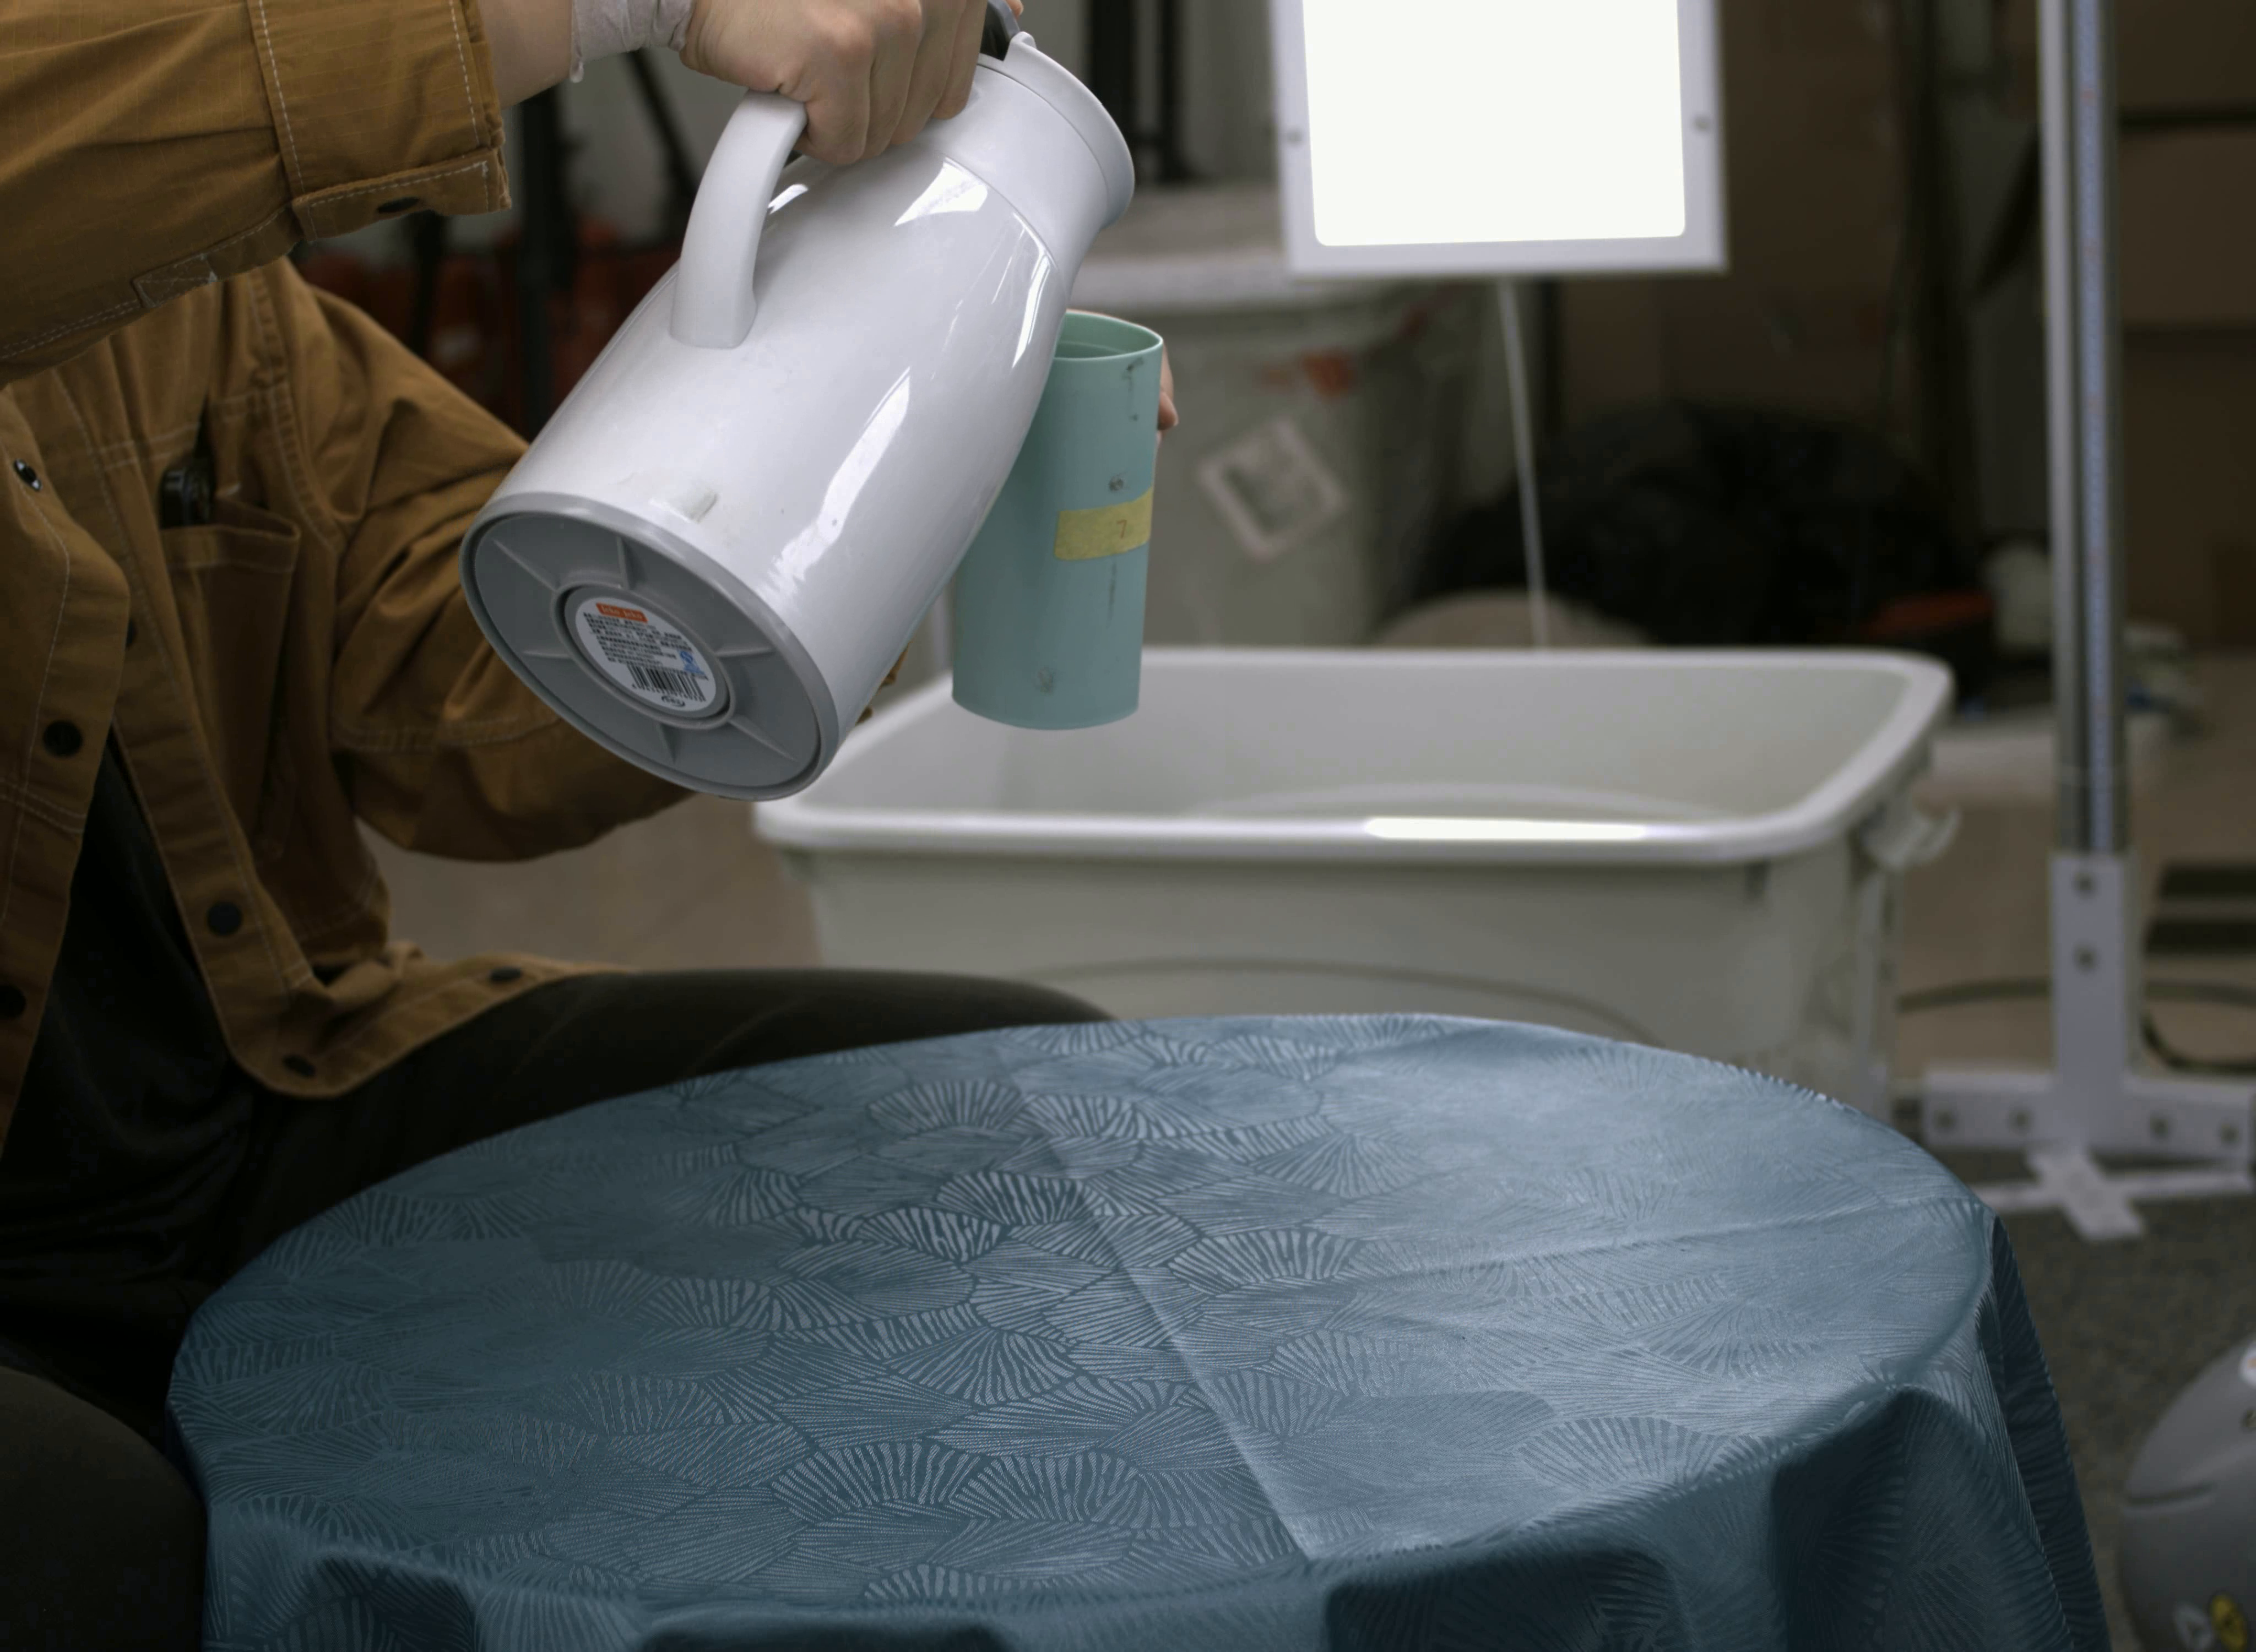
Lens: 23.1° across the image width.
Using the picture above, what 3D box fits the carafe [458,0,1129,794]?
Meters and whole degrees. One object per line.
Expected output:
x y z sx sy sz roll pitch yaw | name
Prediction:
-0.096 -0.156 1.734 0.135 0.167 0.245 15 58 30 | carafe

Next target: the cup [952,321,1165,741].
-0.025 -0.102 1.875 0.066 0.133 0.066 3 19 -2 | cup
